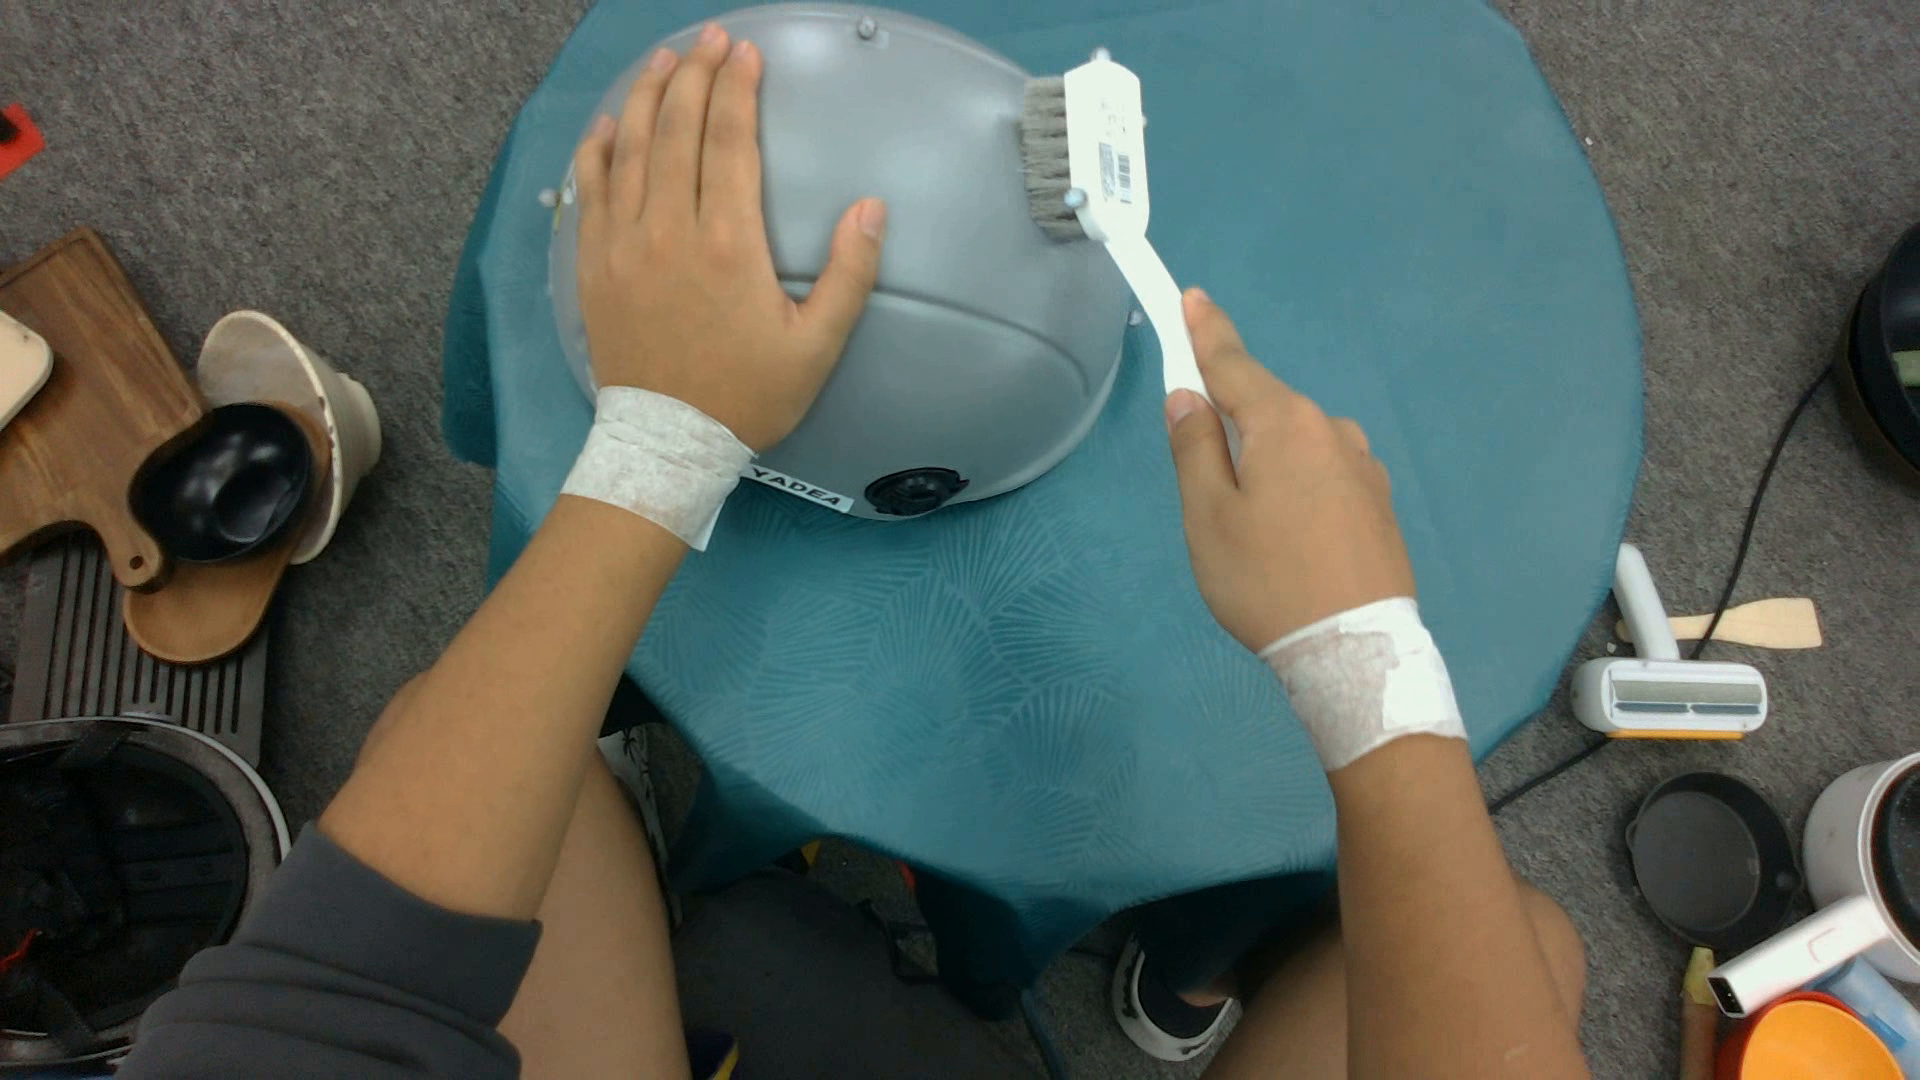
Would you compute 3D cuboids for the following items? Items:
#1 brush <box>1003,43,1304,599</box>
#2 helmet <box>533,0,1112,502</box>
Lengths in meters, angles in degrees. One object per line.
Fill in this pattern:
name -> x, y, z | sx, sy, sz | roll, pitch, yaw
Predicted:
brush -> 0.069, -0.085, 0.534 | 0.034, 0.050, 0.244 | -6, 72, -43
helmet -> -0.051, -0.143, 0.610 | 0.276, 0.168, 0.232 | 4, 75, -9
